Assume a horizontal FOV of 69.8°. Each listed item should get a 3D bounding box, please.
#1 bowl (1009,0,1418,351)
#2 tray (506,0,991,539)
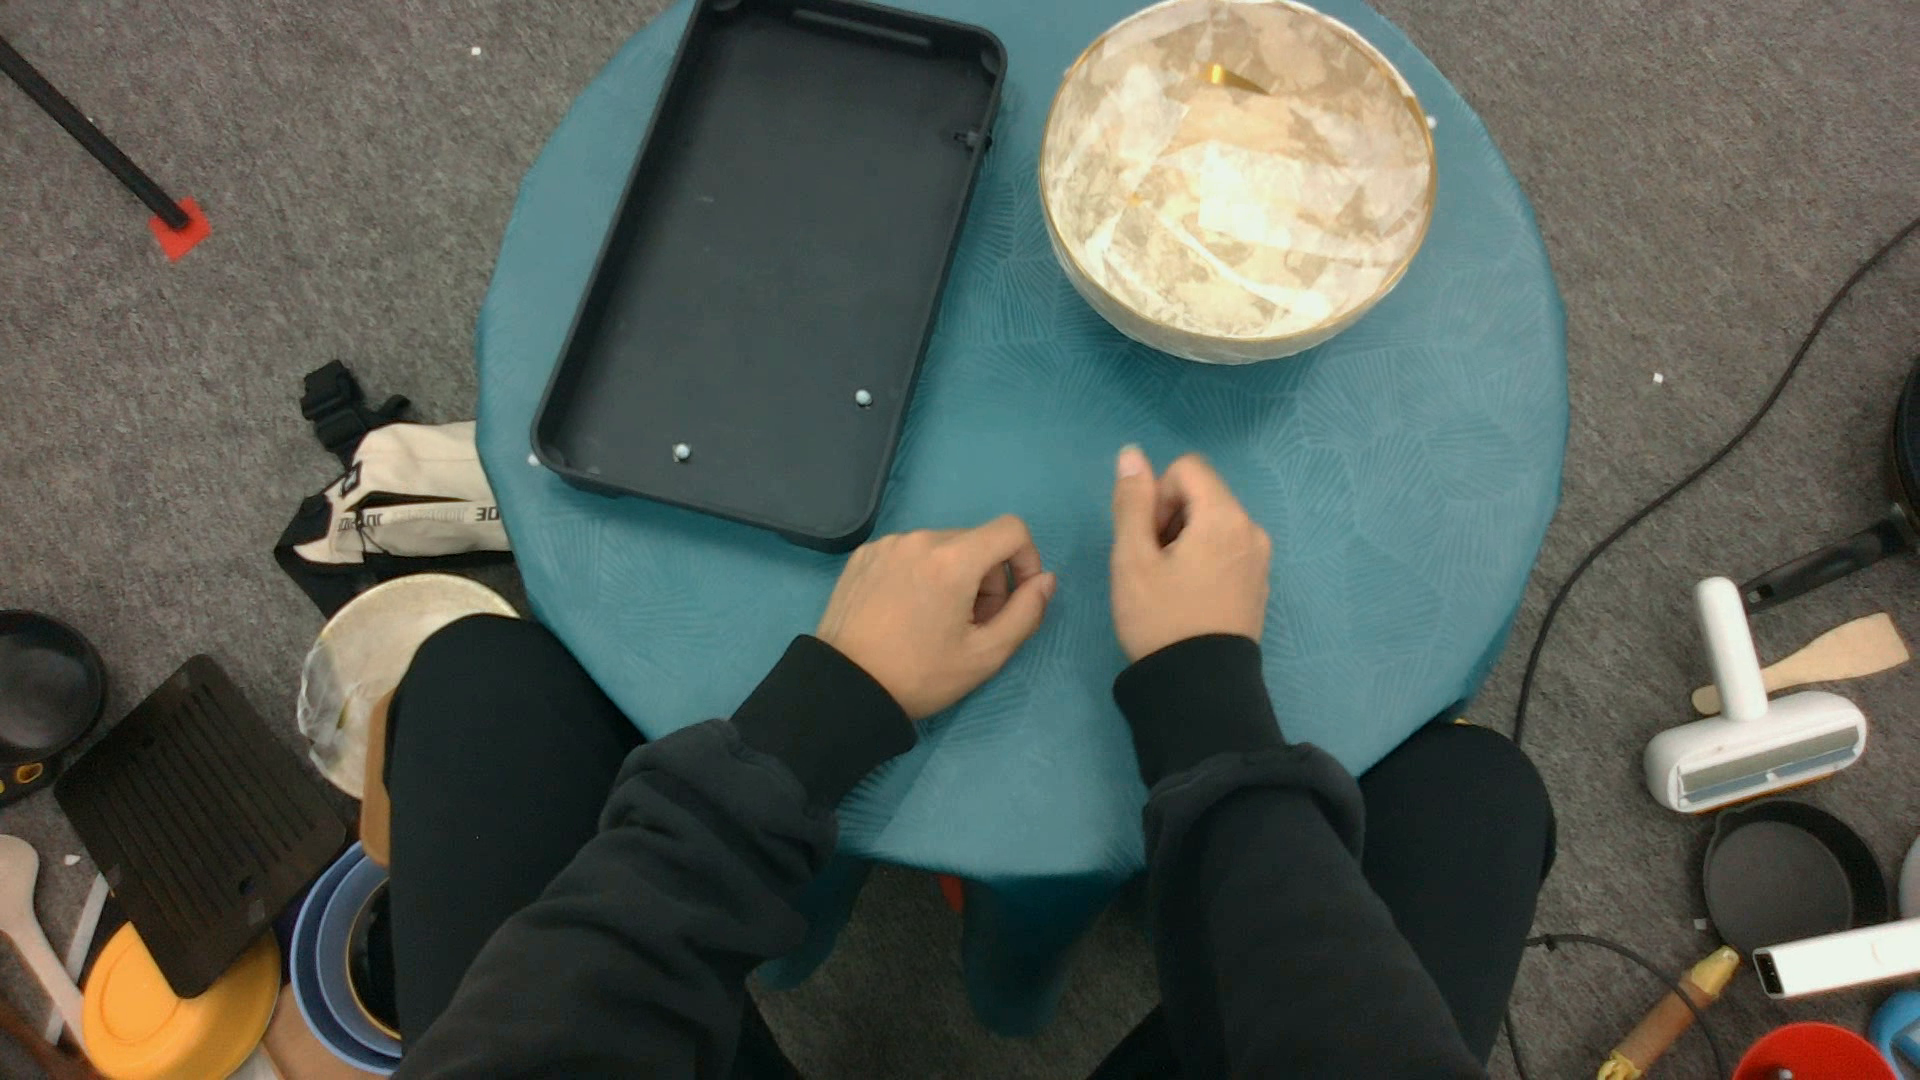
[{"bbox_3d":[0.125,-0.181,0.738,0.215,0.094,0.215,1,71,-2],"label":"bowl"},{"bbox_3d":[-0.108,-0.167,0.757,0.184,0.037,0.319,15,73,3],"label":"tray"}]
